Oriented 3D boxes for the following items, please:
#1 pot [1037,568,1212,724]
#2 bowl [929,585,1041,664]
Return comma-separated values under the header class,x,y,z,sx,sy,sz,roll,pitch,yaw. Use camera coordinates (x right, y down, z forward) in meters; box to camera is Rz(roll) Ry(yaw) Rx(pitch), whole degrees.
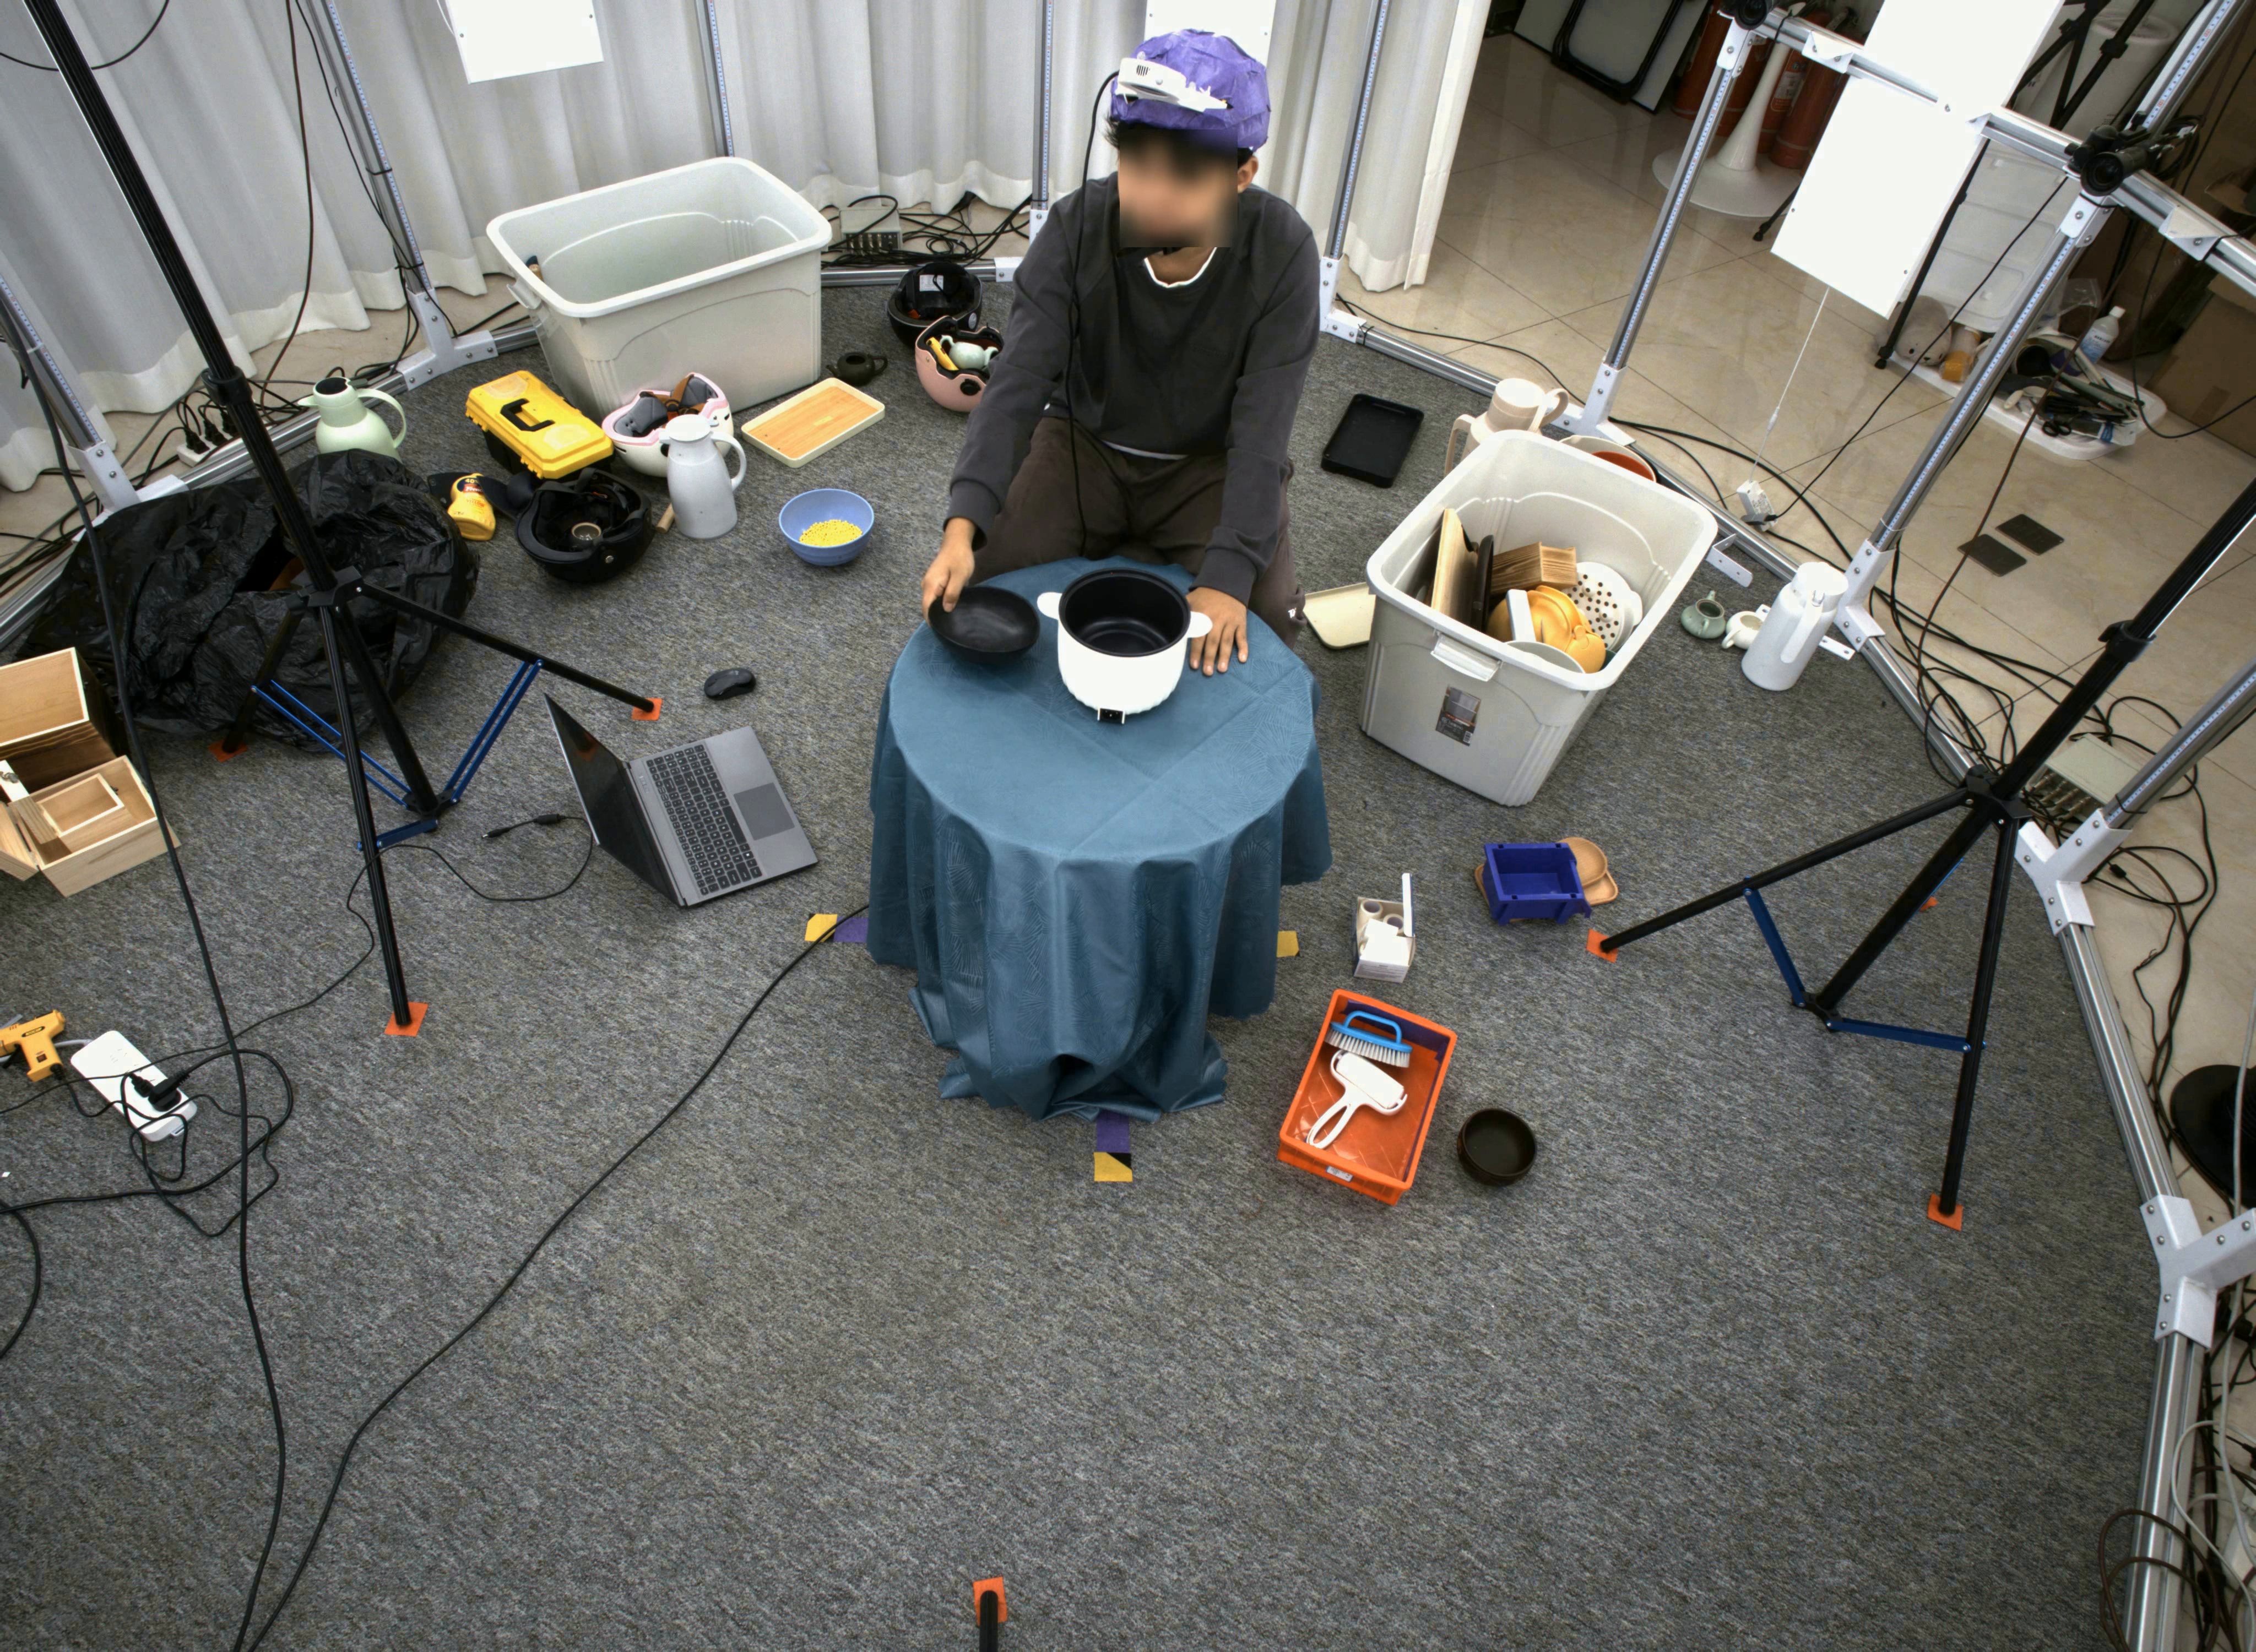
class,x,y,z,sx,sy,sz,roll,pitch,yaw
pot,-0.009,-0.255,1.797,0.240,0.139,0.195,8,52,1
bowl,-0.206,-0.278,1.849,0.171,0.065,0.140,22,50,16
